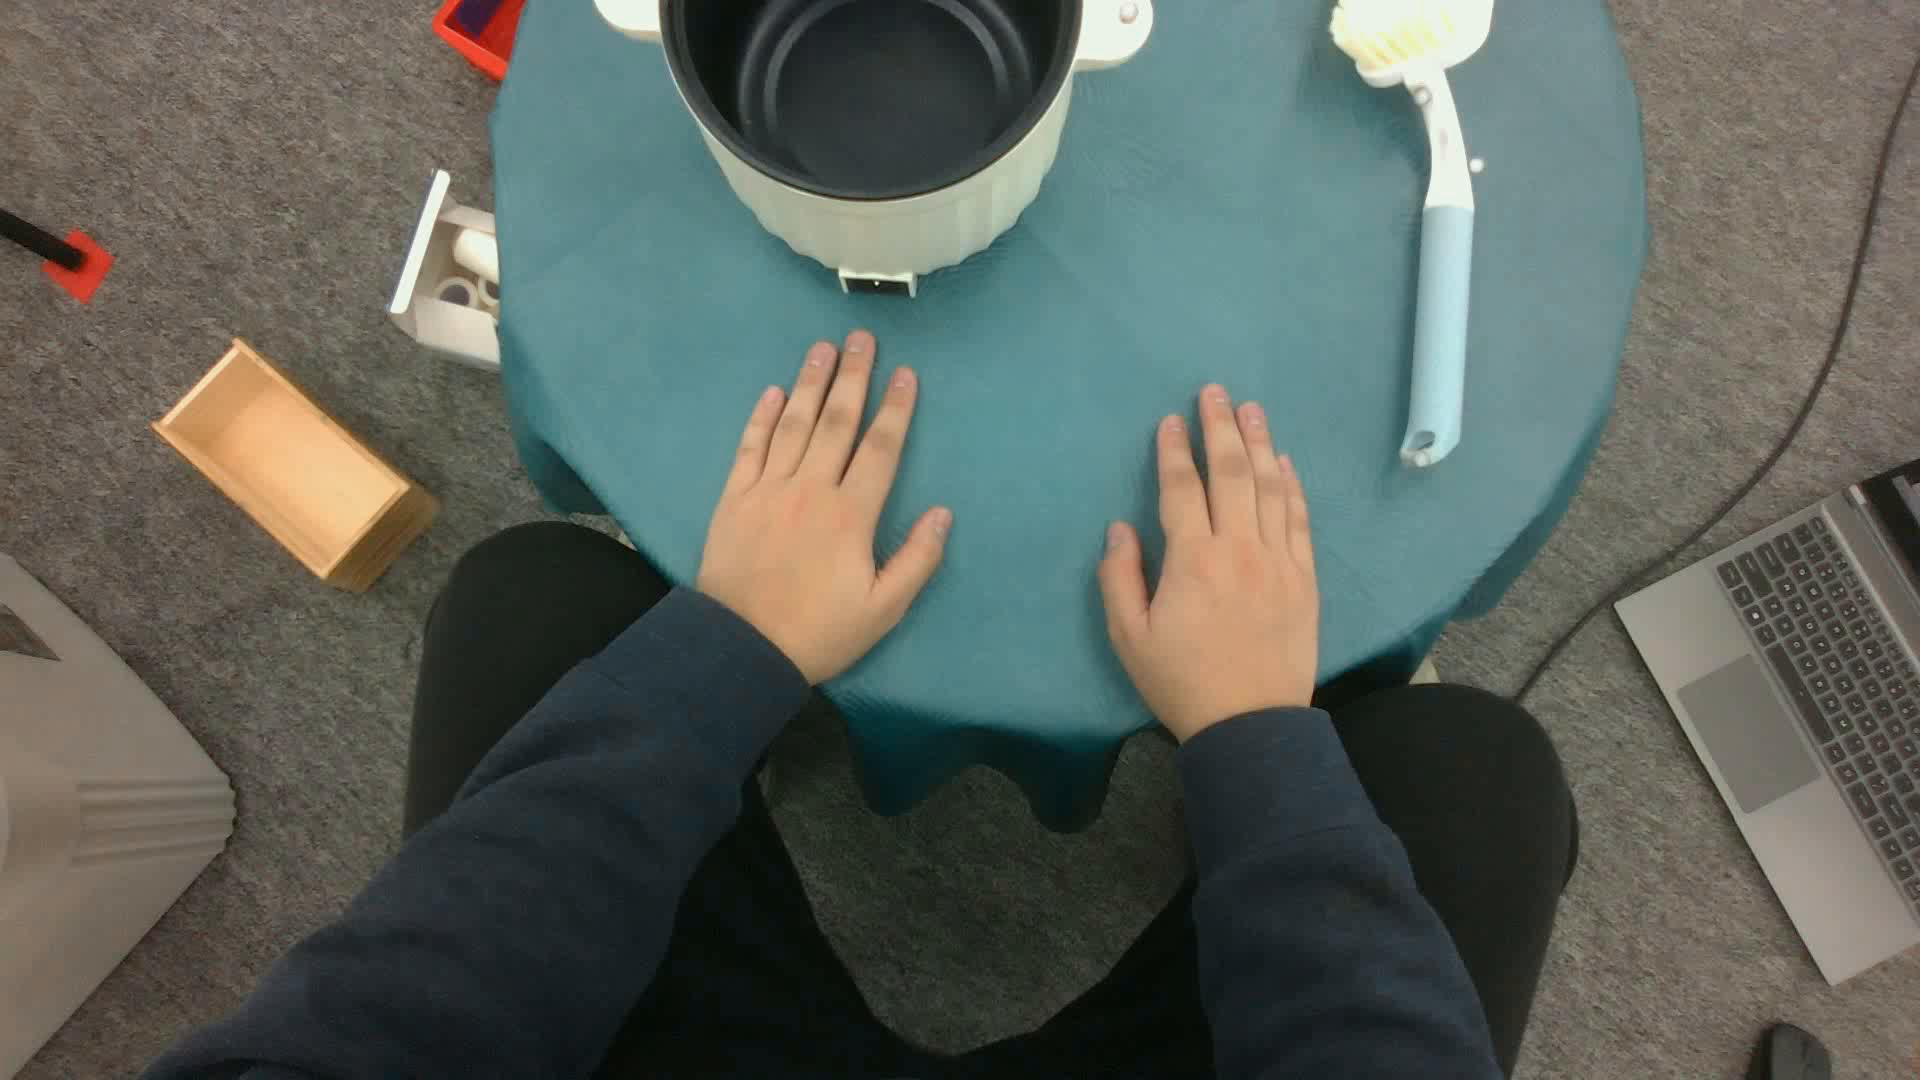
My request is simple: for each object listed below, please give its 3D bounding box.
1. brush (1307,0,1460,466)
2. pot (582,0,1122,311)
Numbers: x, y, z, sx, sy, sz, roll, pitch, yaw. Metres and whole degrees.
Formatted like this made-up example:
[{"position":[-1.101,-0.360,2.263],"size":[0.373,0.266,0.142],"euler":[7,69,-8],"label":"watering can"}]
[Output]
[{"position":[0.217,-0.200,0.685],"size":[0.084,0.083,0.326],"euler":[4,79,-4],"label":"brush"},{"position":[-0.047,-0.220,0.670],"size":[0.240,0.142,0.190],"euler":[0,84,1],"label":"pot"}]
